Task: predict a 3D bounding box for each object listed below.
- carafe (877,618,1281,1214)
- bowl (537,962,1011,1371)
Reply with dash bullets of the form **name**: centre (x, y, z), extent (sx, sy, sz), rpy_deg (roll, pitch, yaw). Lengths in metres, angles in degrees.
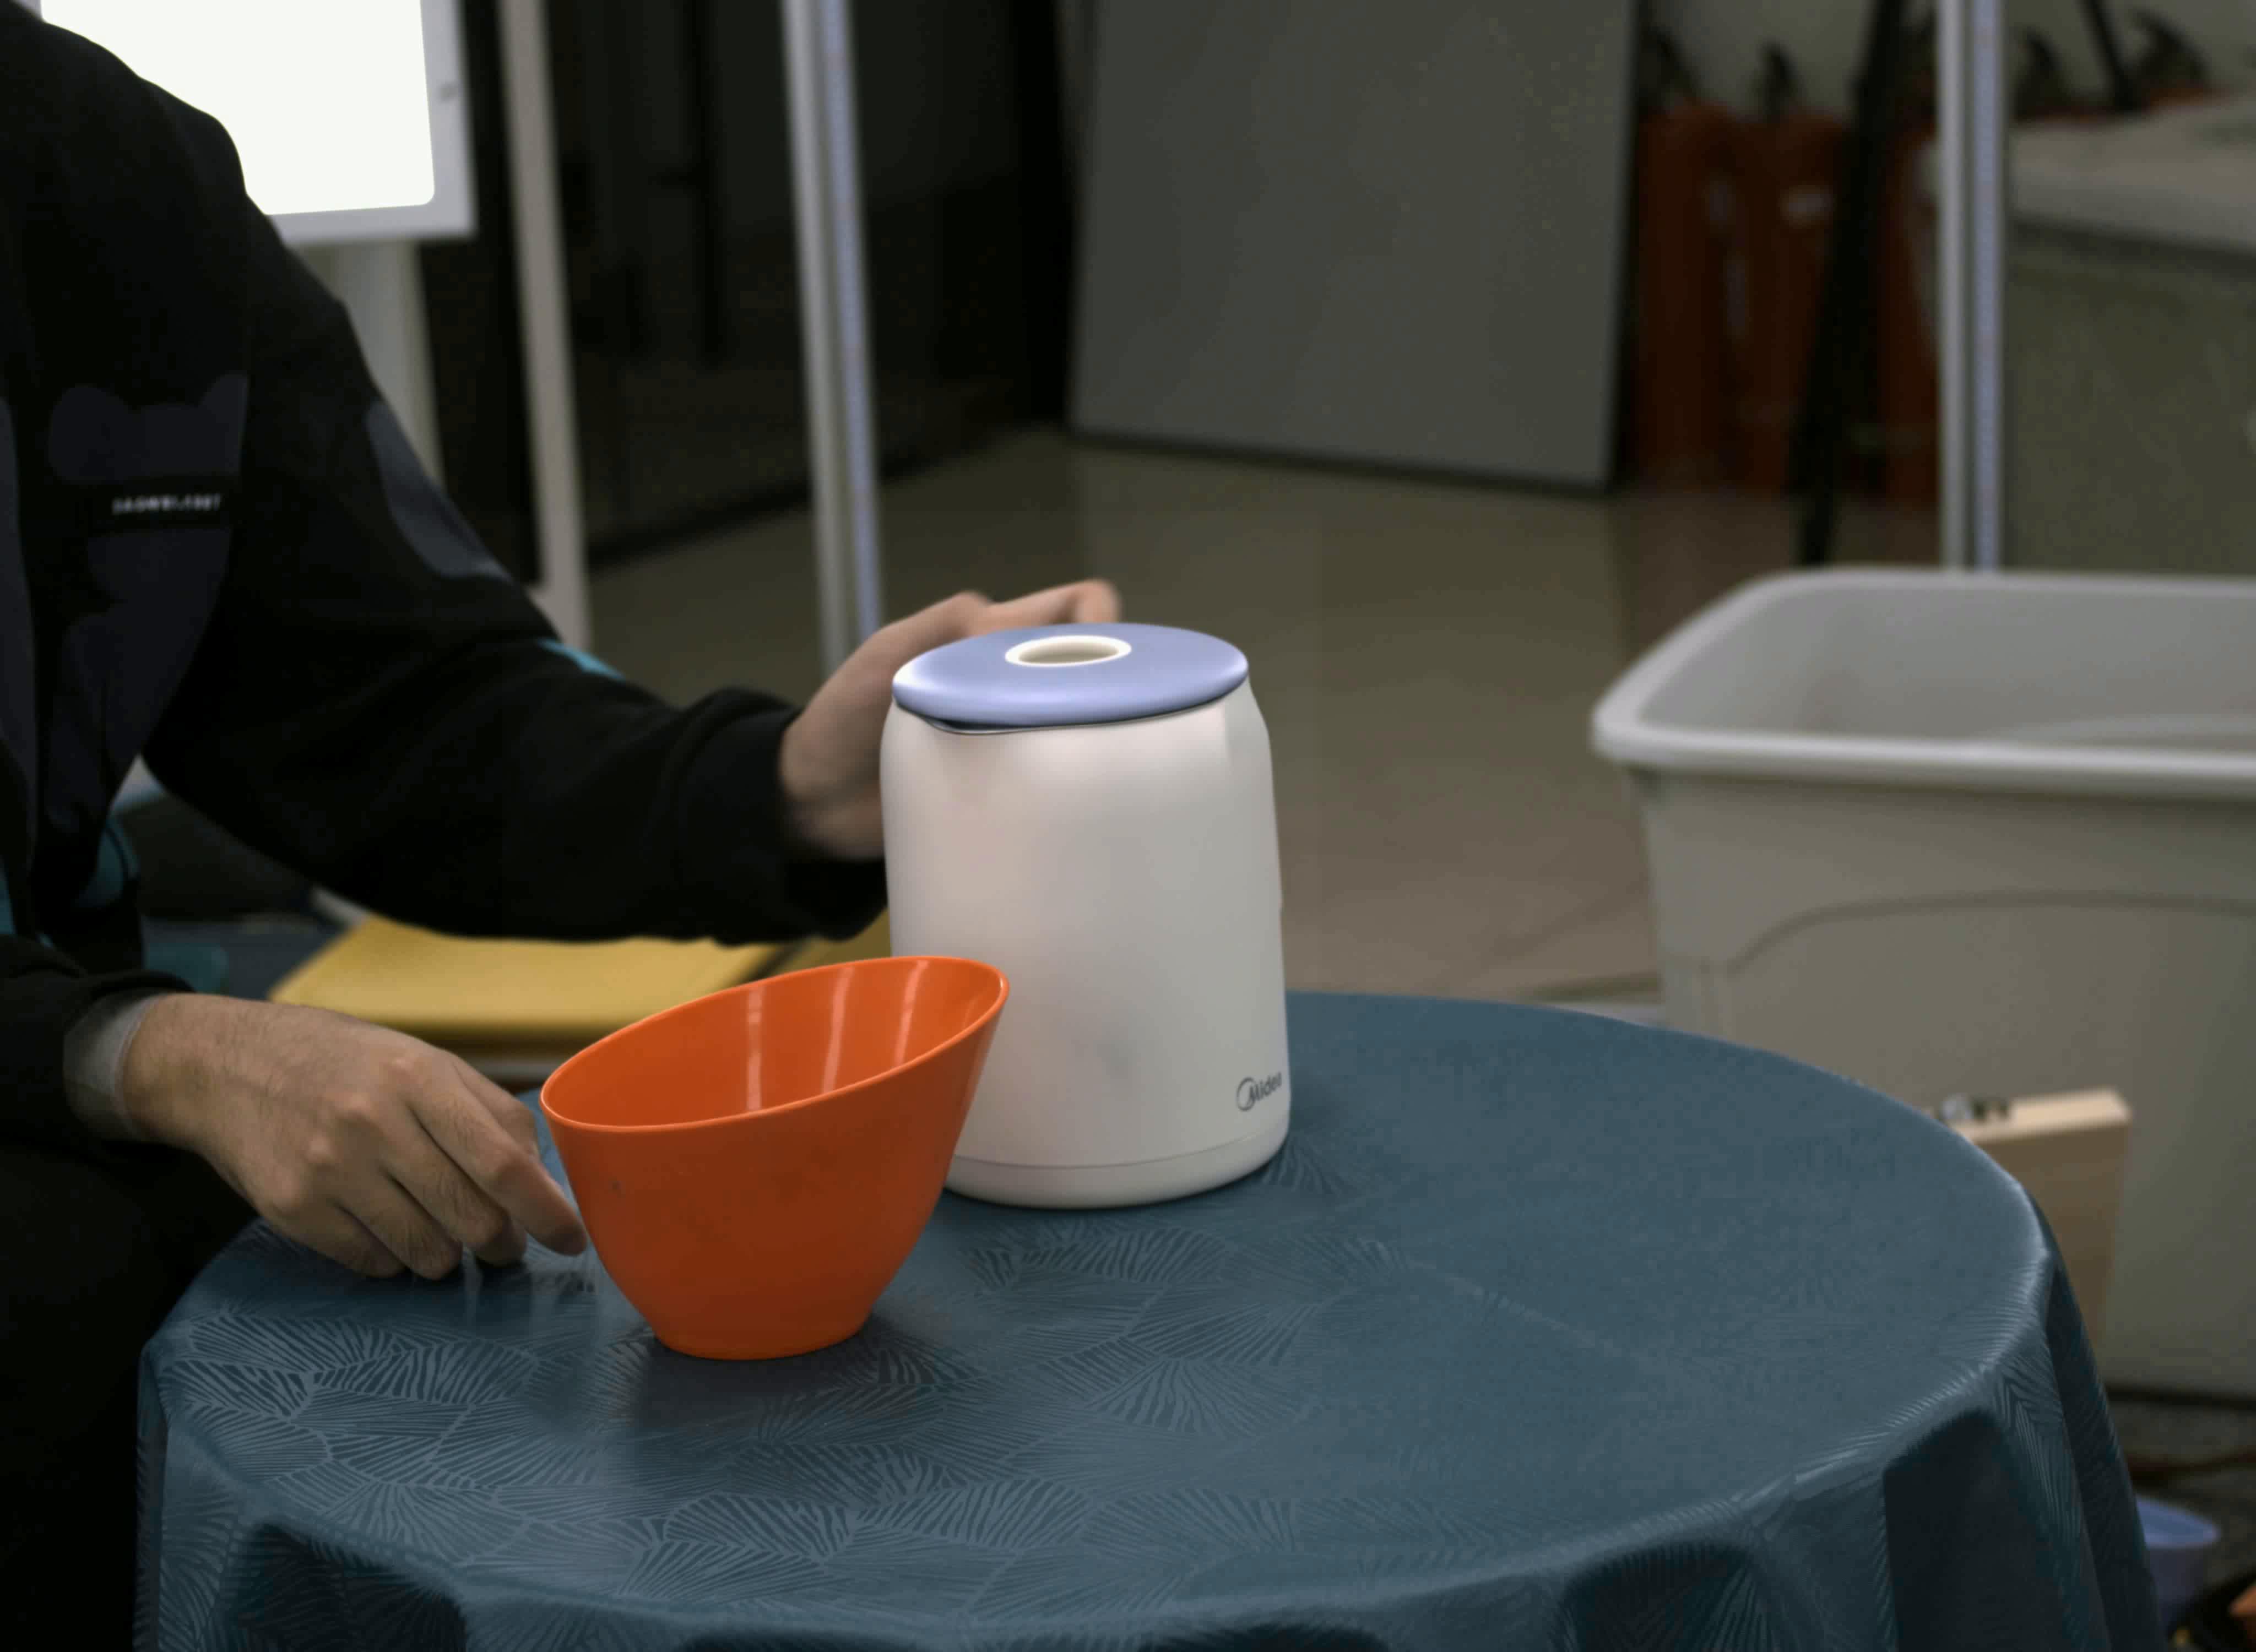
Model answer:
- **carafe**: centre (-0.004, 0.024, 1.810), extent (0.133, 0.184, 0.188), rpy_deg (5, 14, 30)
- **bowl**: centre (-0.106, 0.106, 1.652), extent (0.146, 0.106, 0.148), rpy_deg (-3, 14, 0)
